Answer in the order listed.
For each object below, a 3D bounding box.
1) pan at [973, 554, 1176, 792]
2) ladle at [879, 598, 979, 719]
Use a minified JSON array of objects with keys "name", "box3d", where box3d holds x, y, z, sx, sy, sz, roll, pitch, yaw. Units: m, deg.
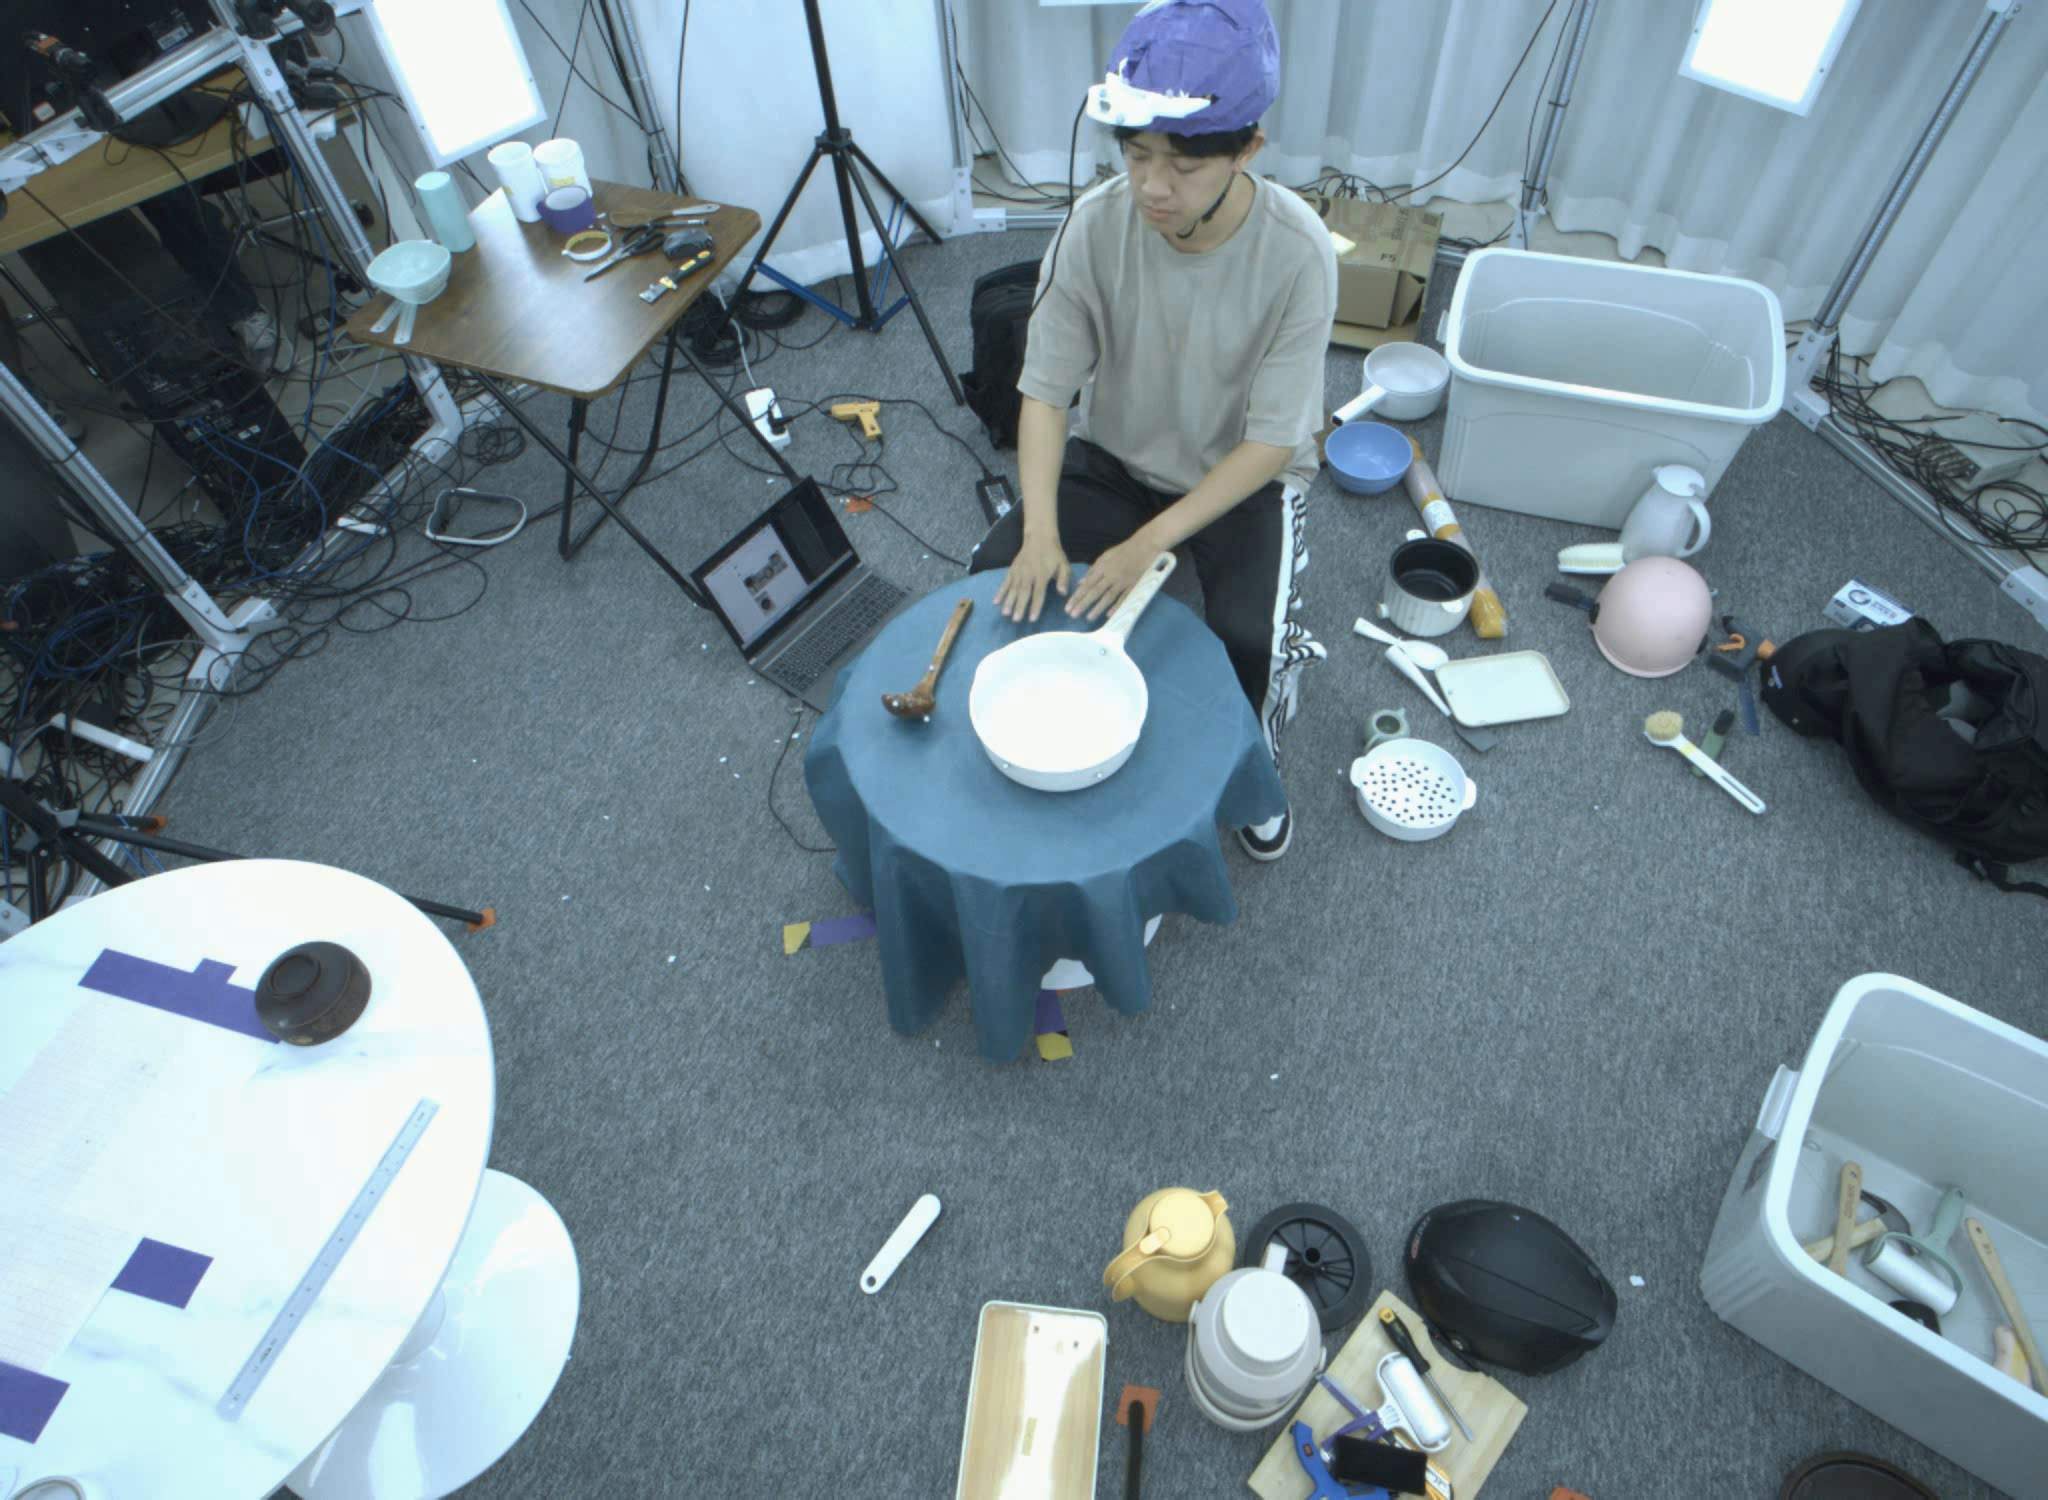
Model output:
[{"name":"pan","box3d":[0.106,-0.116,1.801,0.259,0.103,0.436,27,60,22]},{"name":"ladle","box3d":[-0.136,-0.152,1.850,0.081,0.077,0.273,14,57,16]}]
